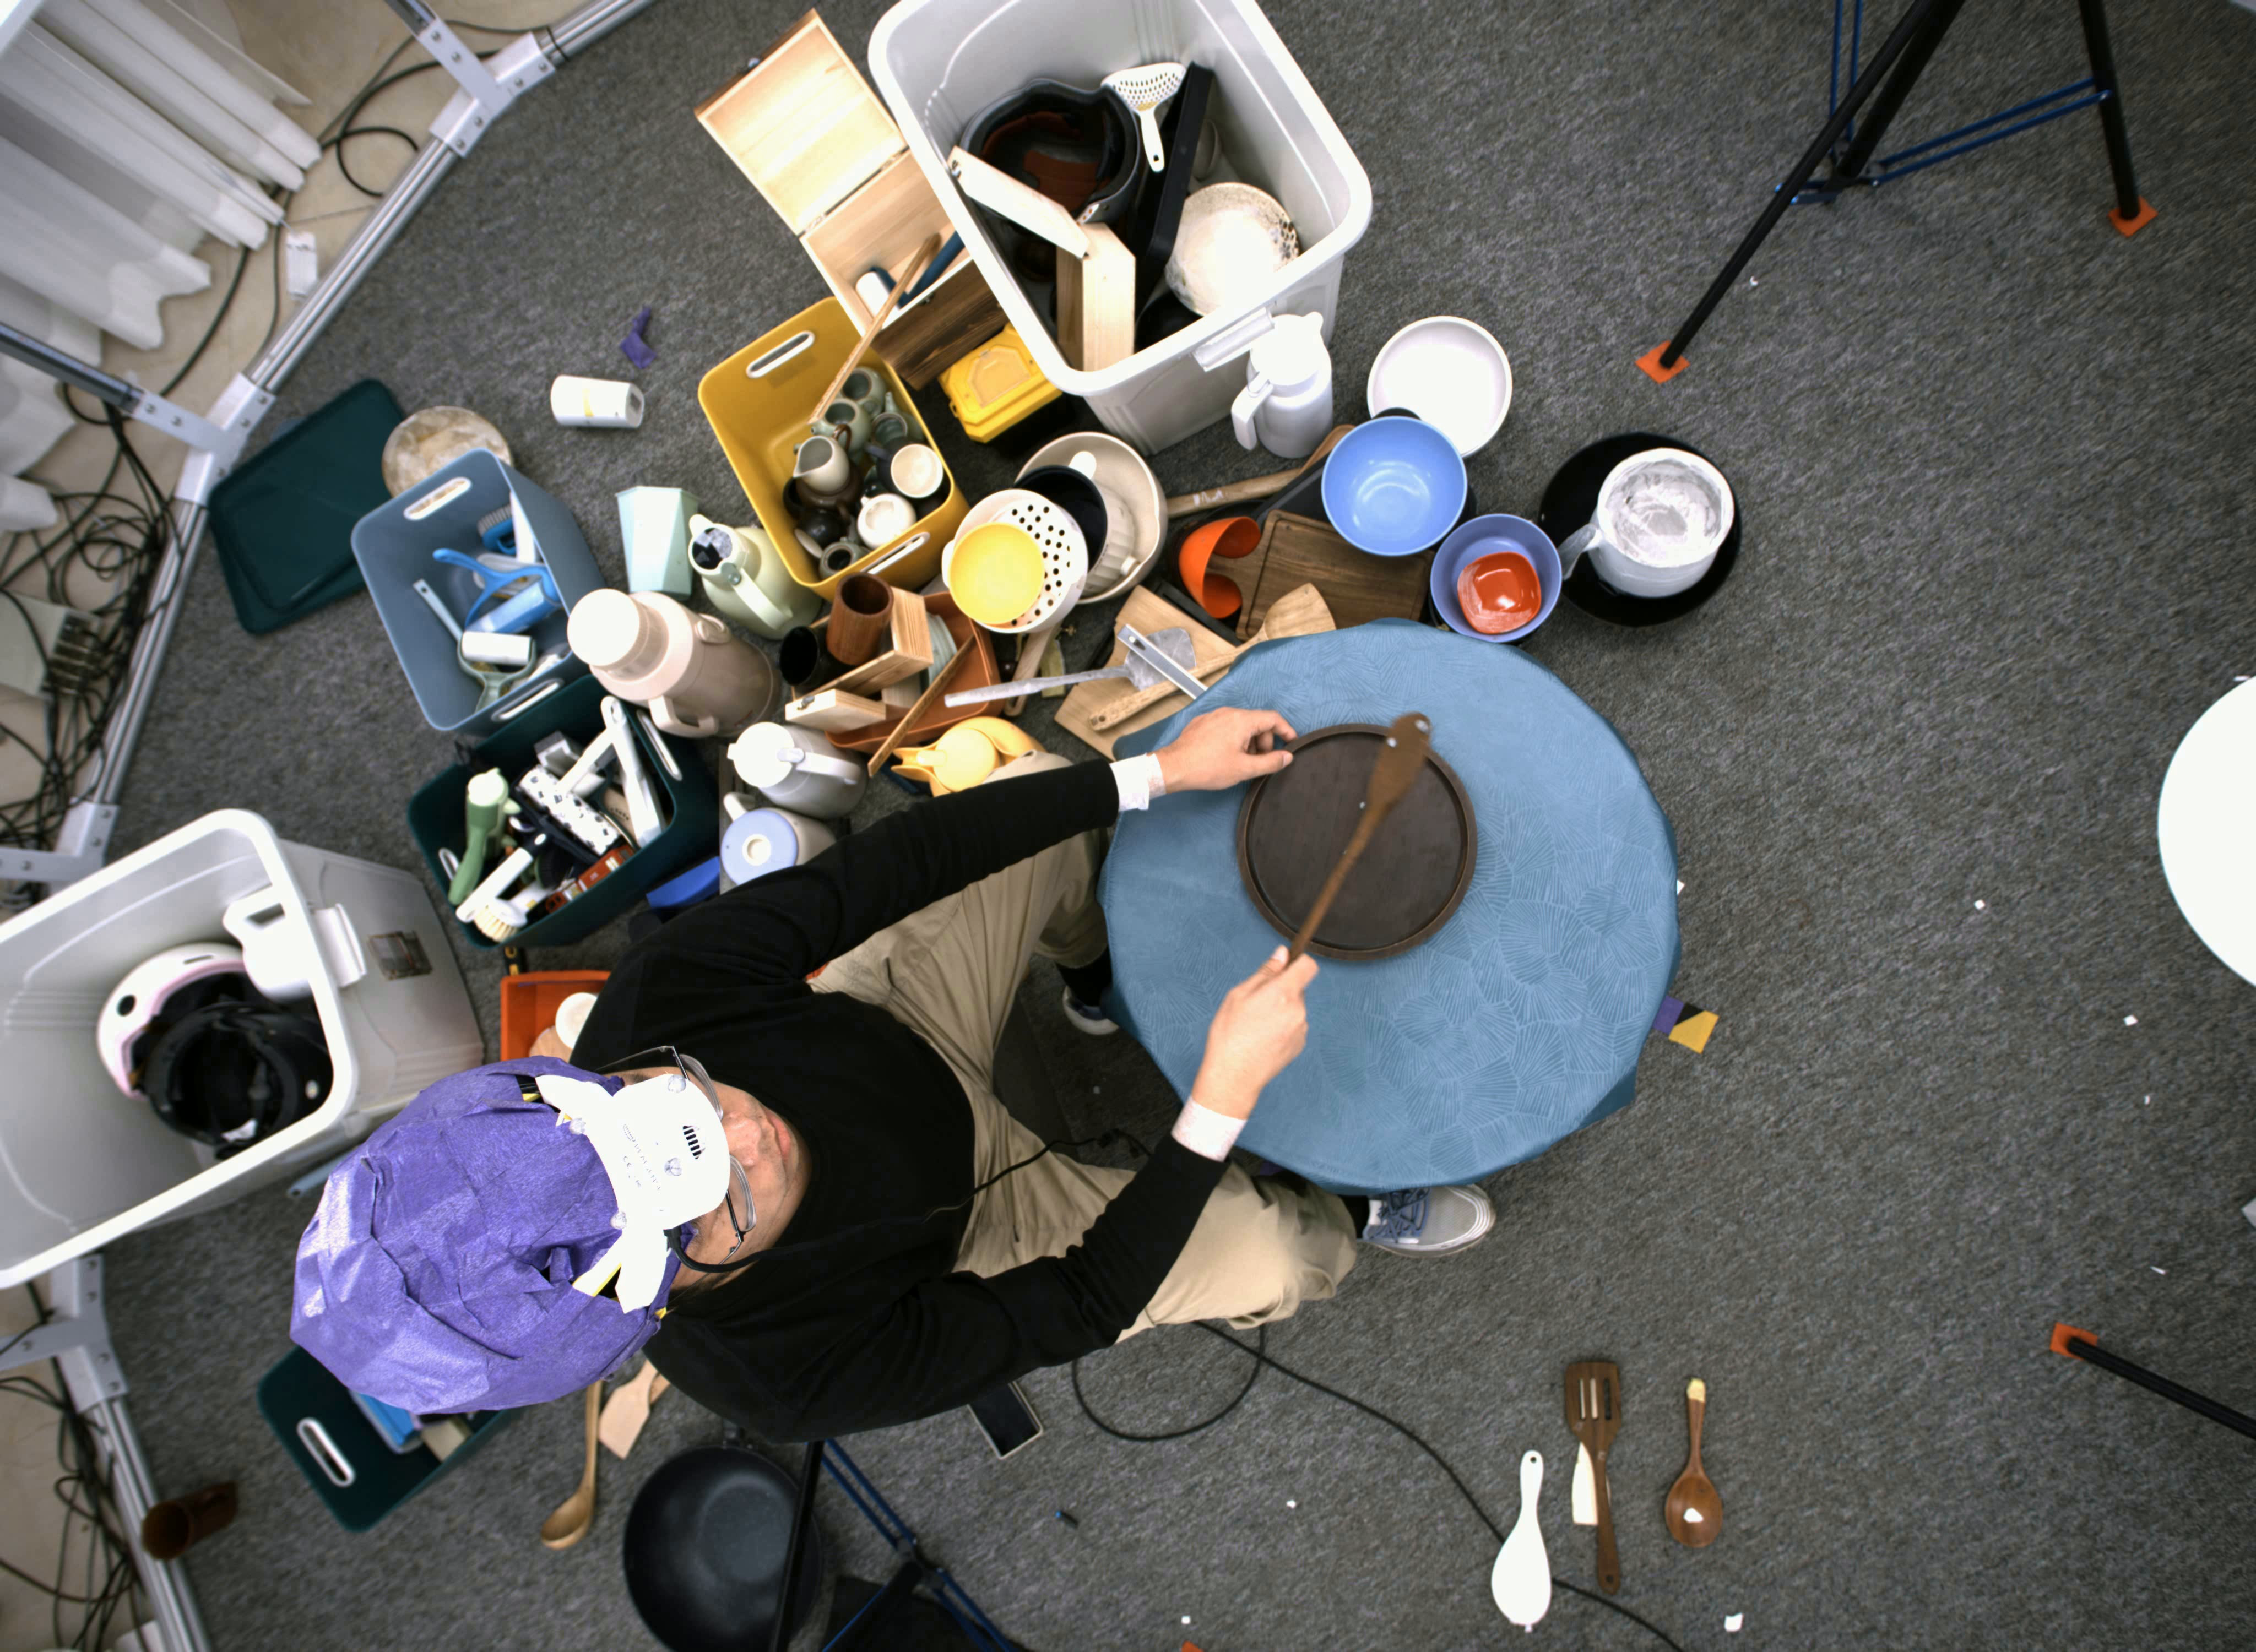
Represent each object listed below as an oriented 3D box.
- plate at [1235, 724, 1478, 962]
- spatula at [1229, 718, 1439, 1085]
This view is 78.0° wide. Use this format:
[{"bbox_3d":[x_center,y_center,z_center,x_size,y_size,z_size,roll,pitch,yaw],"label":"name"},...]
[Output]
[{"bbox_3d":[0.240,0.017,1.458,0.256,0.029,0.254,-1,87,9],"label":"plate"},{"bbox_3d":[0.185,0.070,1.277,0.016,0.095,0.388,27,97,-12],"label":"spatula"}]
